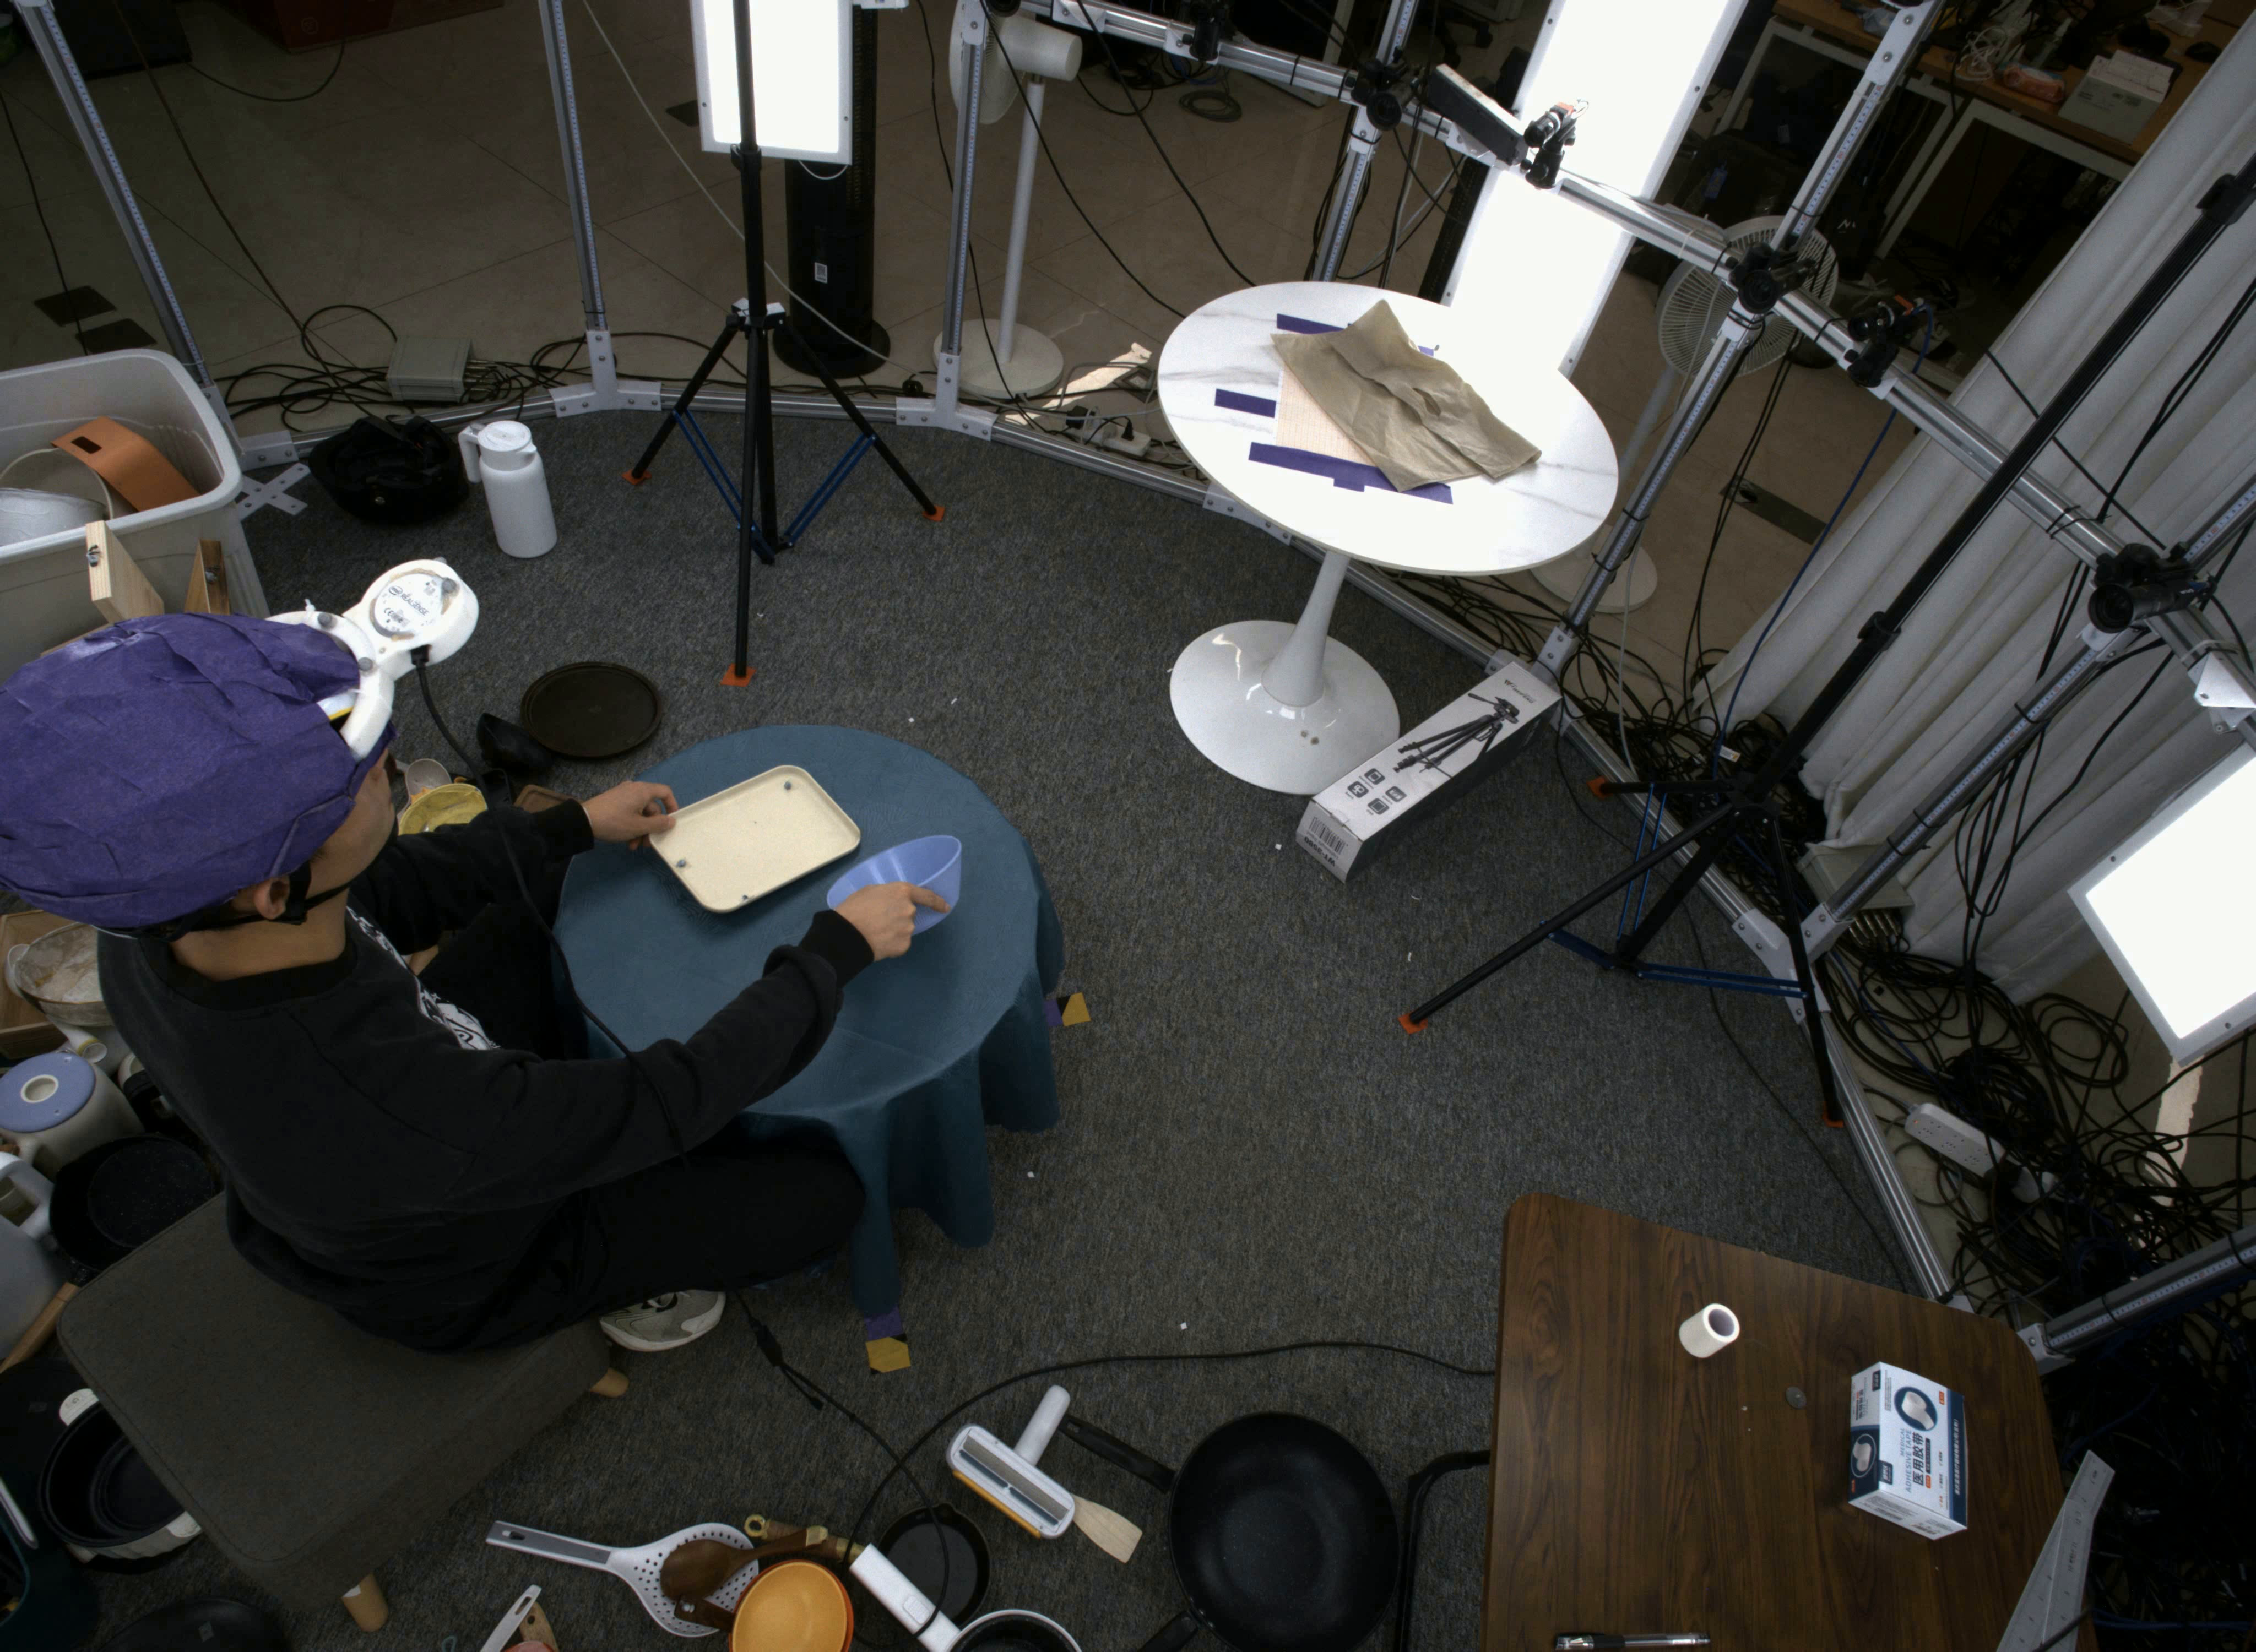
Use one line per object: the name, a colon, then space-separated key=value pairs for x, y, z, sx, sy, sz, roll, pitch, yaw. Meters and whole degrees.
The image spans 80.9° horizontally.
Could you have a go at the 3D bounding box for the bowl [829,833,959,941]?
bowl: x=-0.274 y=0.080 z=1.596 sx=0.174 sy=0.072 sz=0.173 roll=-20 pitch=19 yaw=9

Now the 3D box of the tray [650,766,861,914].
tray: x=-0.481 y=0.015 z=1.676 sx=0.167 sy=0.018 sz=0.241 roll=44 pitch=49 yaw=19
